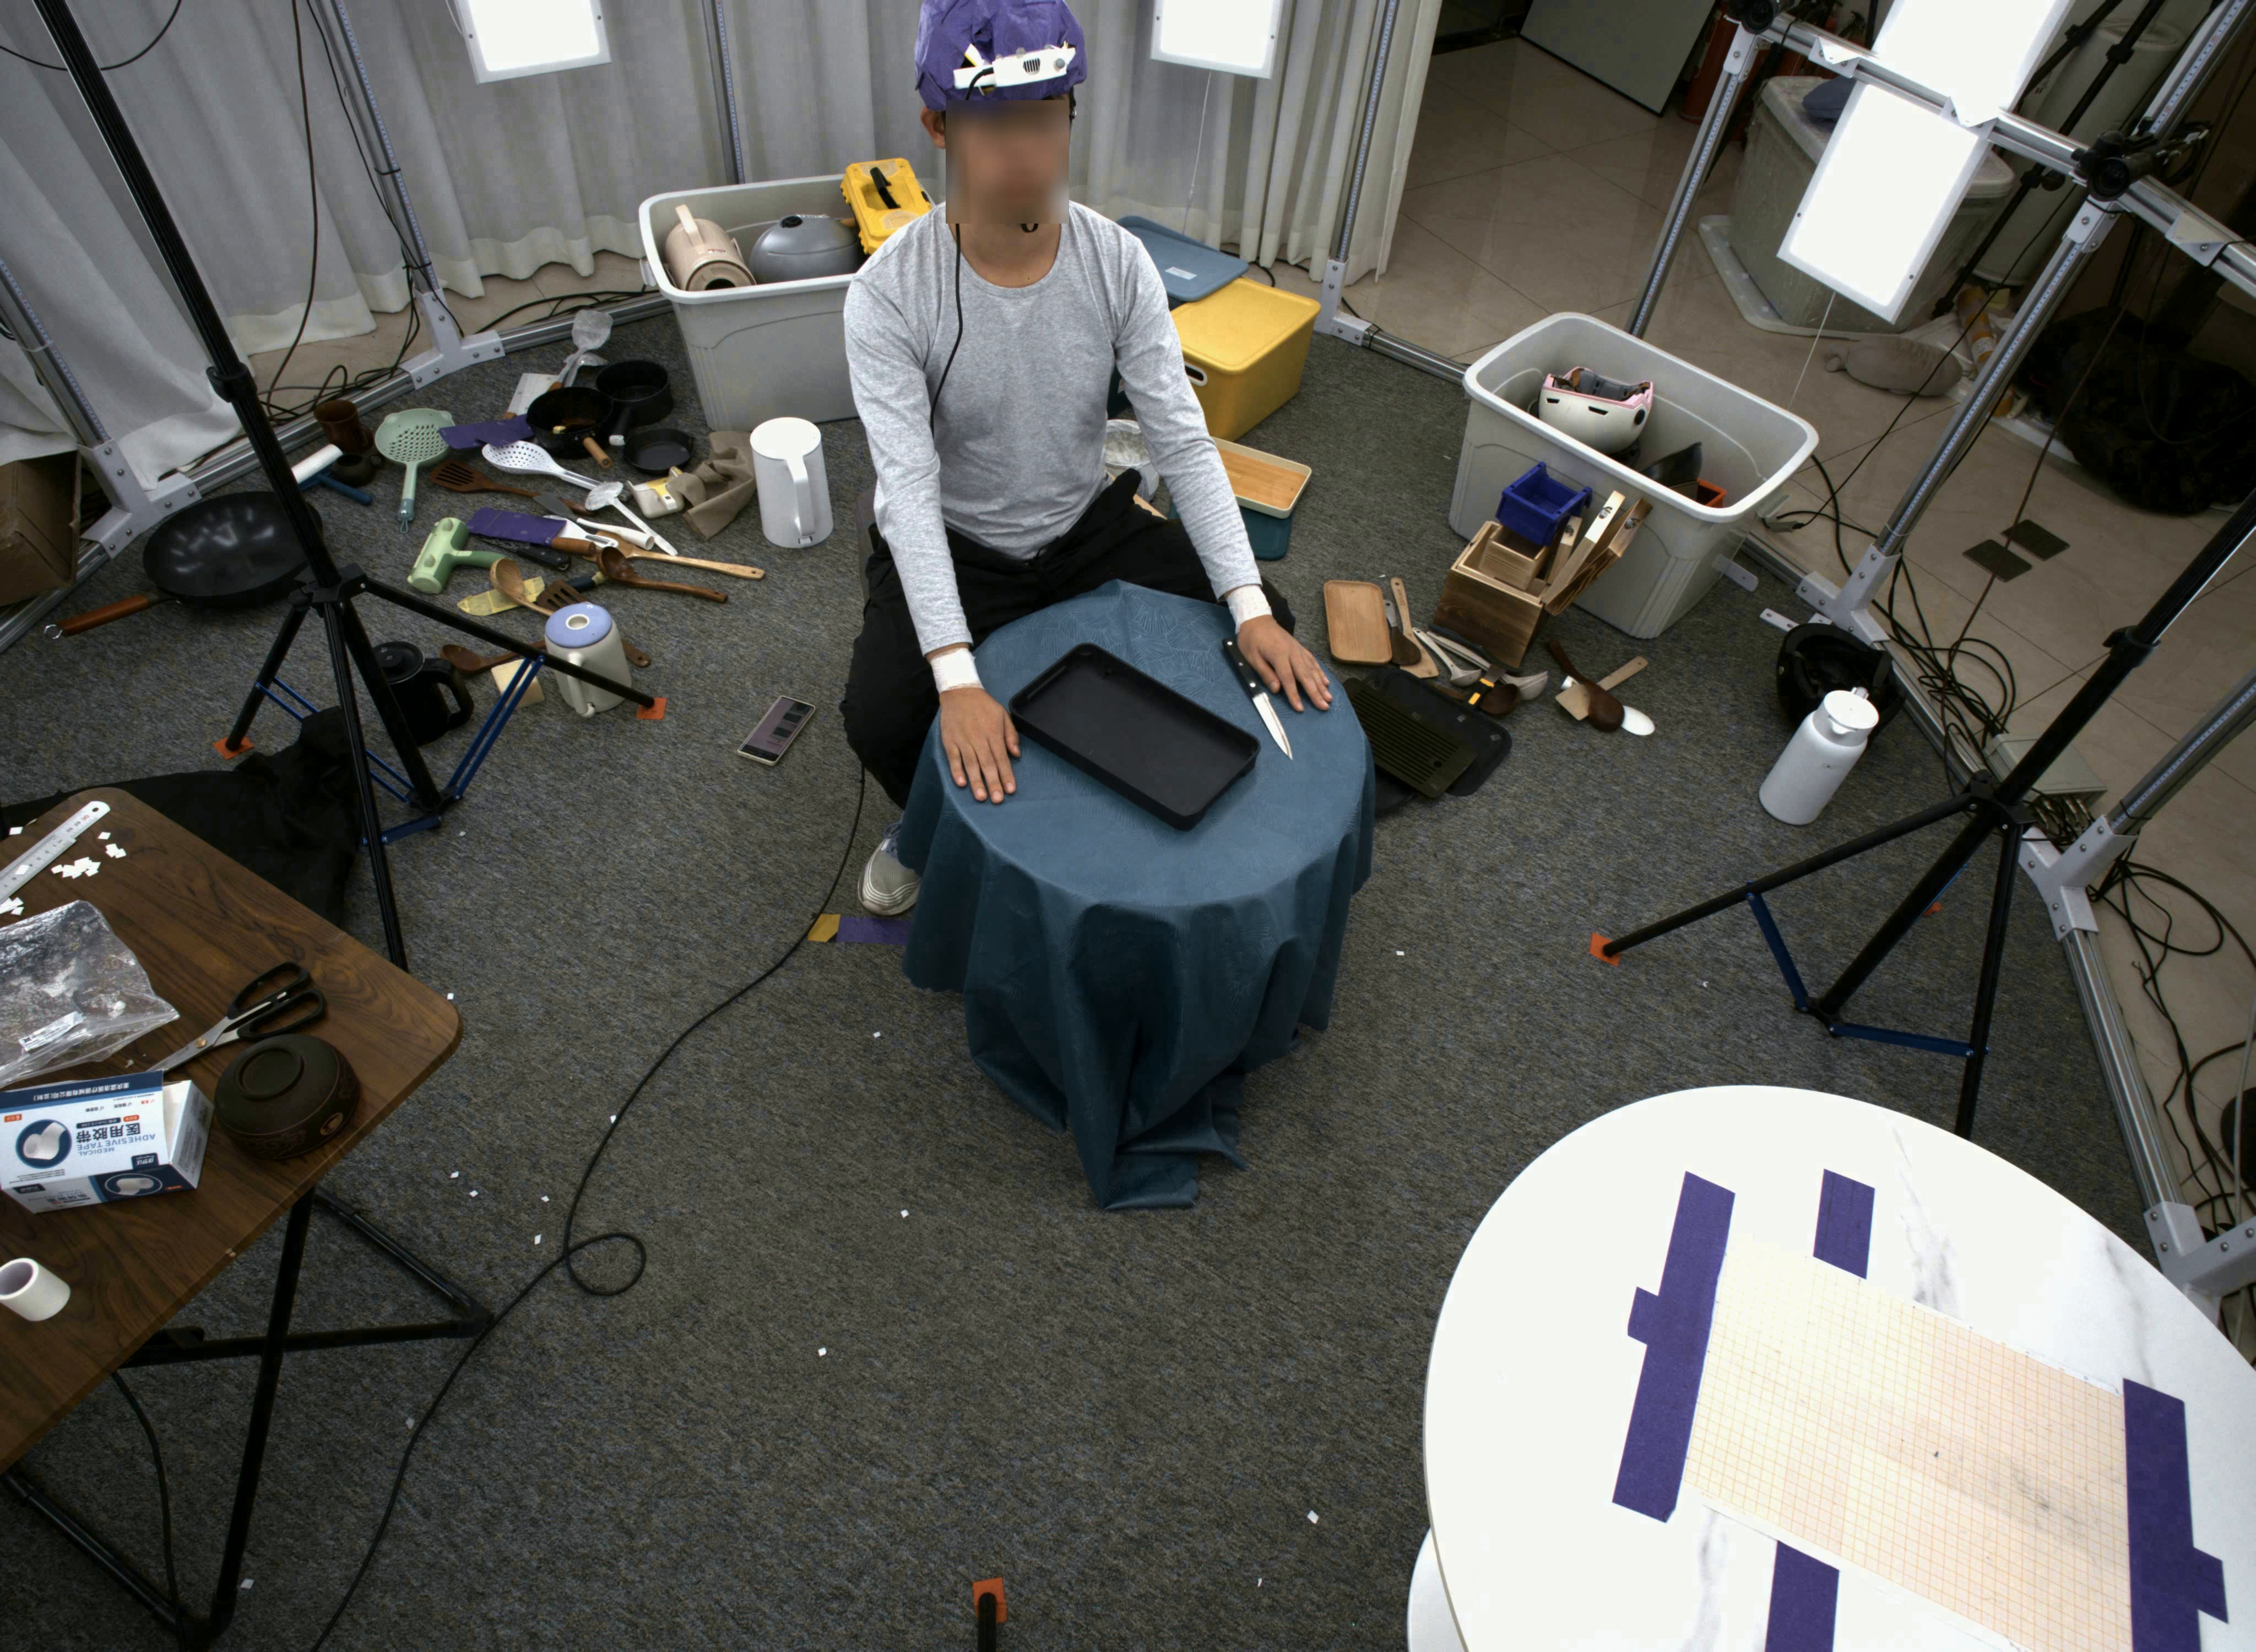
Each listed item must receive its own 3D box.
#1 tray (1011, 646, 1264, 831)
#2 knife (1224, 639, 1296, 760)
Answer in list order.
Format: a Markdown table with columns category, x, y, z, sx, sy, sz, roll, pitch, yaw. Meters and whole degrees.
| category | x | y | z | sx | sy | sz | roll | pitch | yaw |
| --- | --- | --- | --- | --- | --- | --- | --- | --- | --- |
| tray | 0.011 | -0.125 | 1.753 | 0.321 | 0.036 | 0.186 | 31 | 53 | 22 |
| knife | 0.188 | -0.182 | 1.831 | 0.024 | 0.016 | 0.244 | -14 | 54 | -14 |
